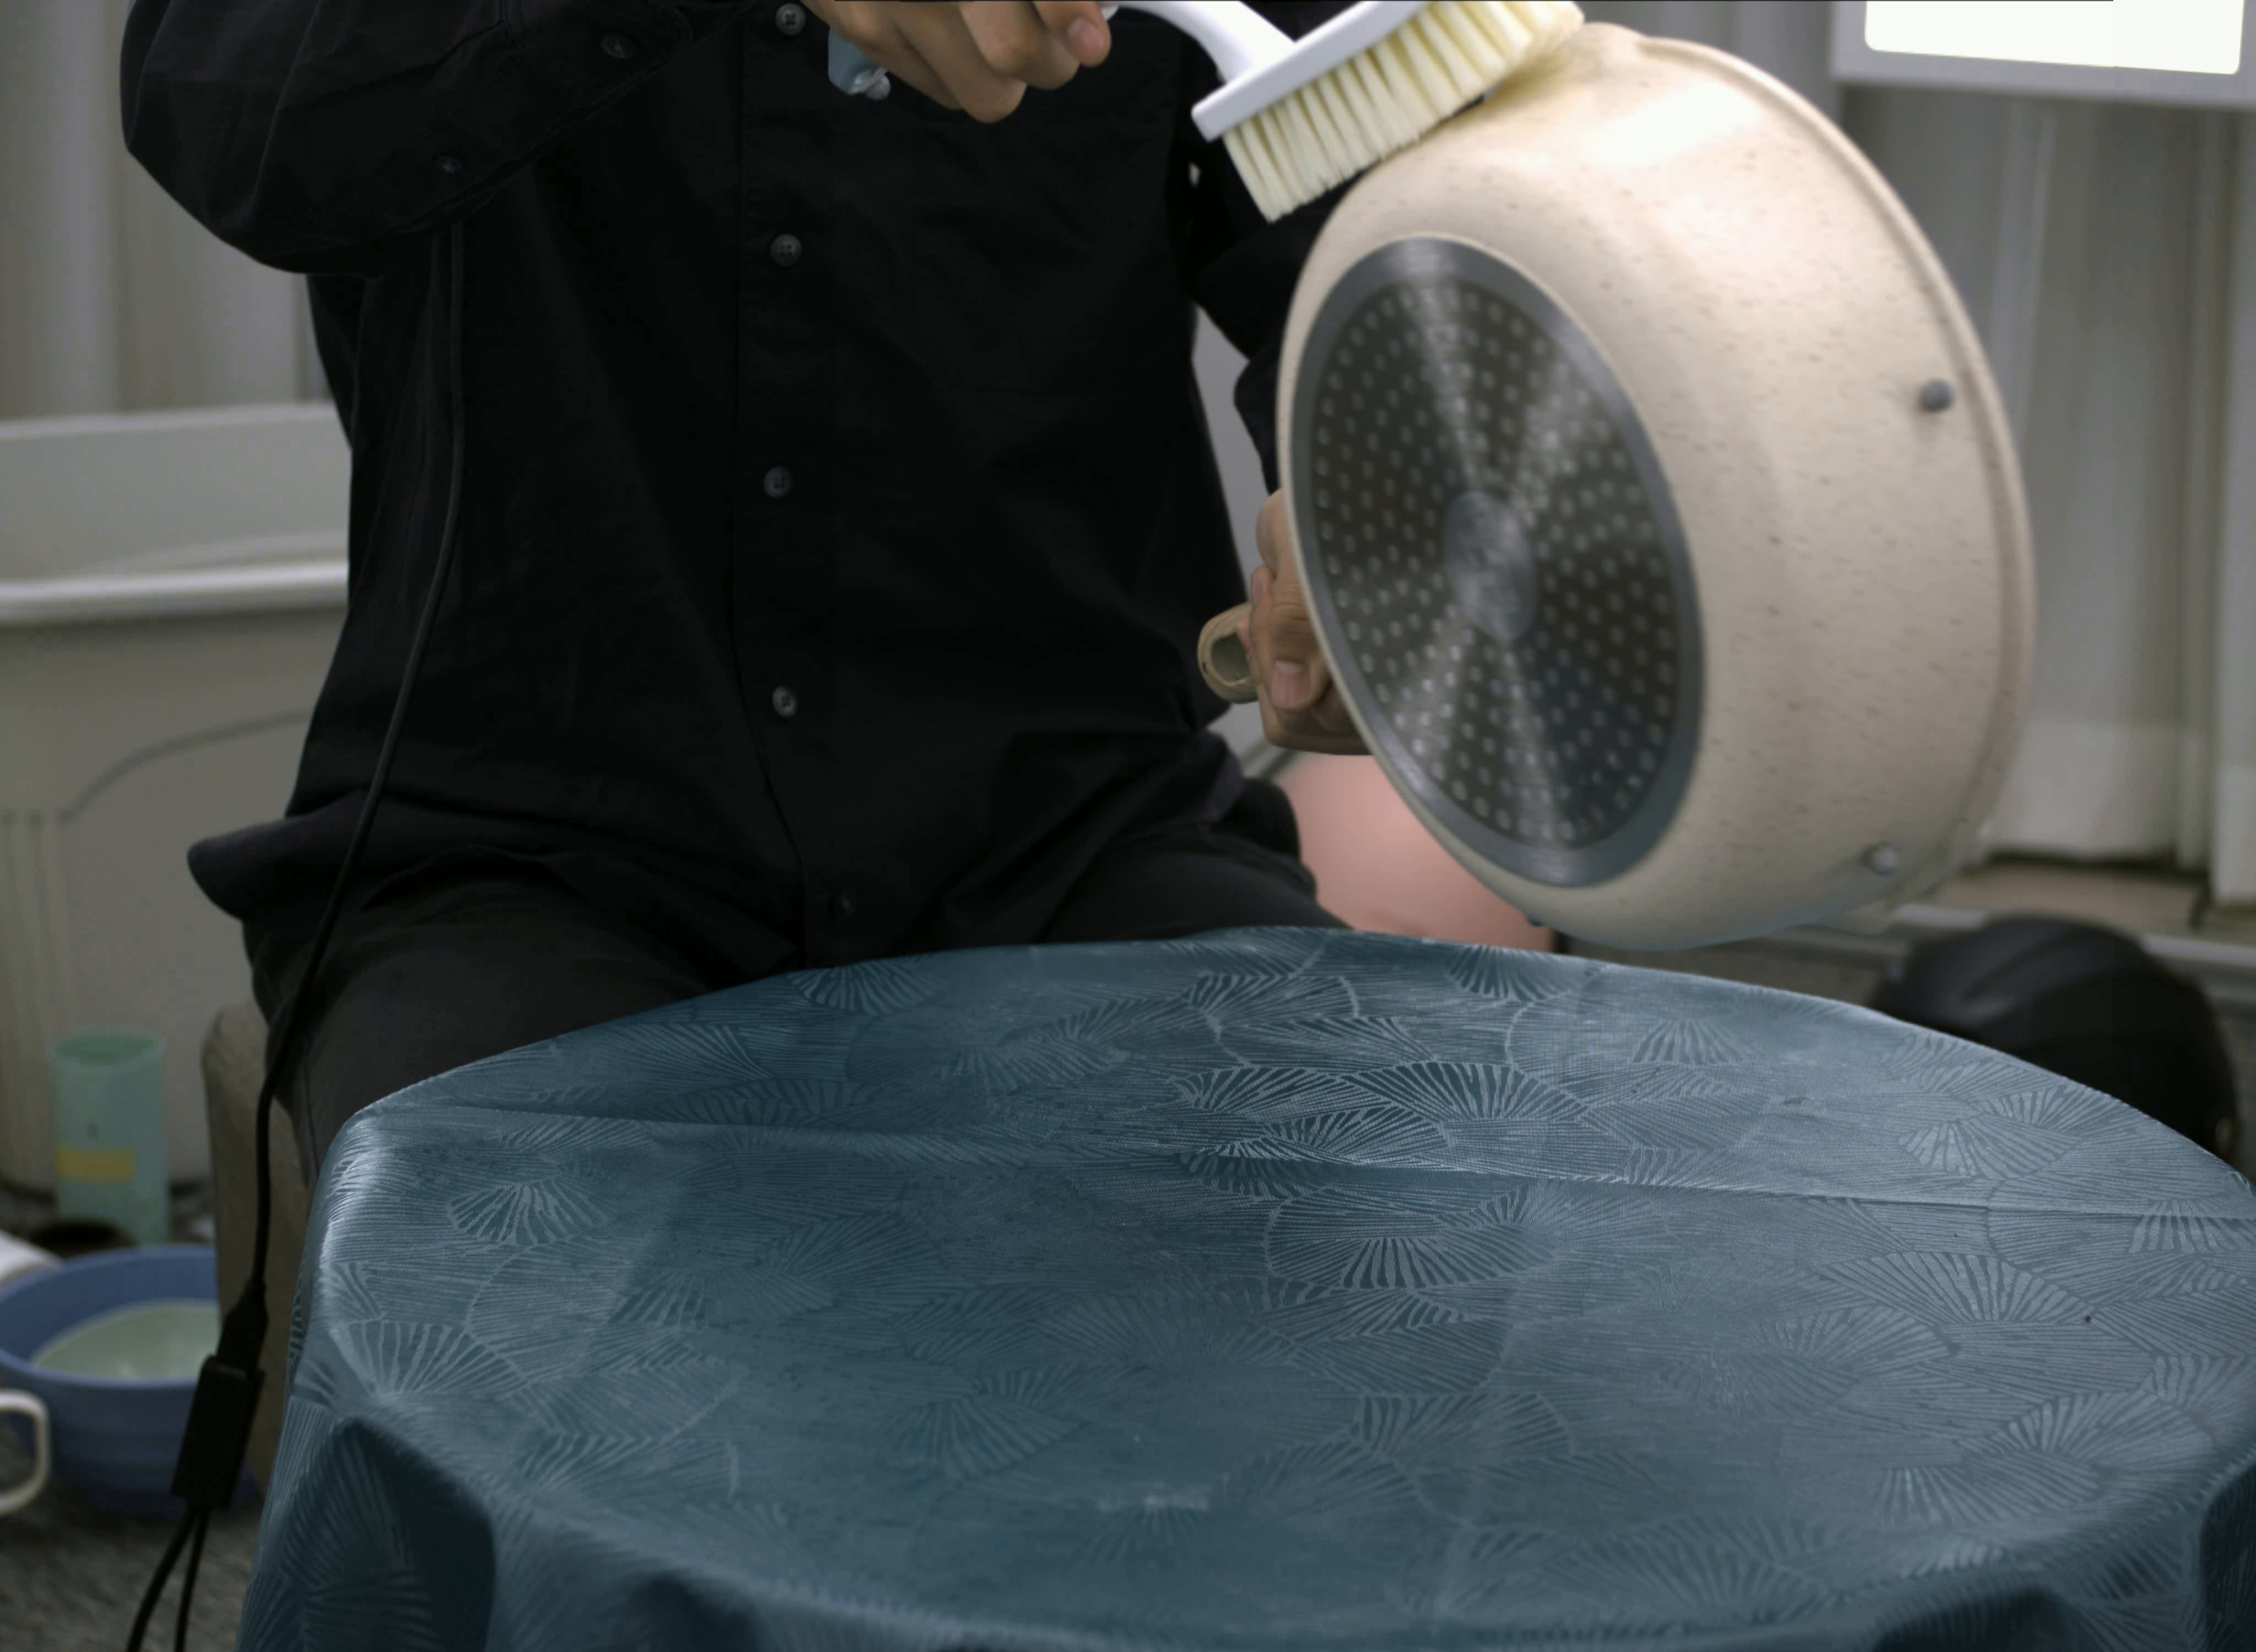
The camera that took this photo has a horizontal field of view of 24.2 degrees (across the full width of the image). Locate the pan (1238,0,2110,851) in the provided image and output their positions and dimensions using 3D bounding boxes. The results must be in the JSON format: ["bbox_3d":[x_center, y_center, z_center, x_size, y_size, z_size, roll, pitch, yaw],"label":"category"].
[{"bbox_3d":[0.114,-0.100,1.531,0.102,0.264,0.432,-22,3,-29],"label":"pan"}]

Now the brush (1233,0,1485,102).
[{"bbox_3d":[0.035,-0.245,1.541,0.084,0.084,0.322,9,-5,-35],"label":"brush"}]
